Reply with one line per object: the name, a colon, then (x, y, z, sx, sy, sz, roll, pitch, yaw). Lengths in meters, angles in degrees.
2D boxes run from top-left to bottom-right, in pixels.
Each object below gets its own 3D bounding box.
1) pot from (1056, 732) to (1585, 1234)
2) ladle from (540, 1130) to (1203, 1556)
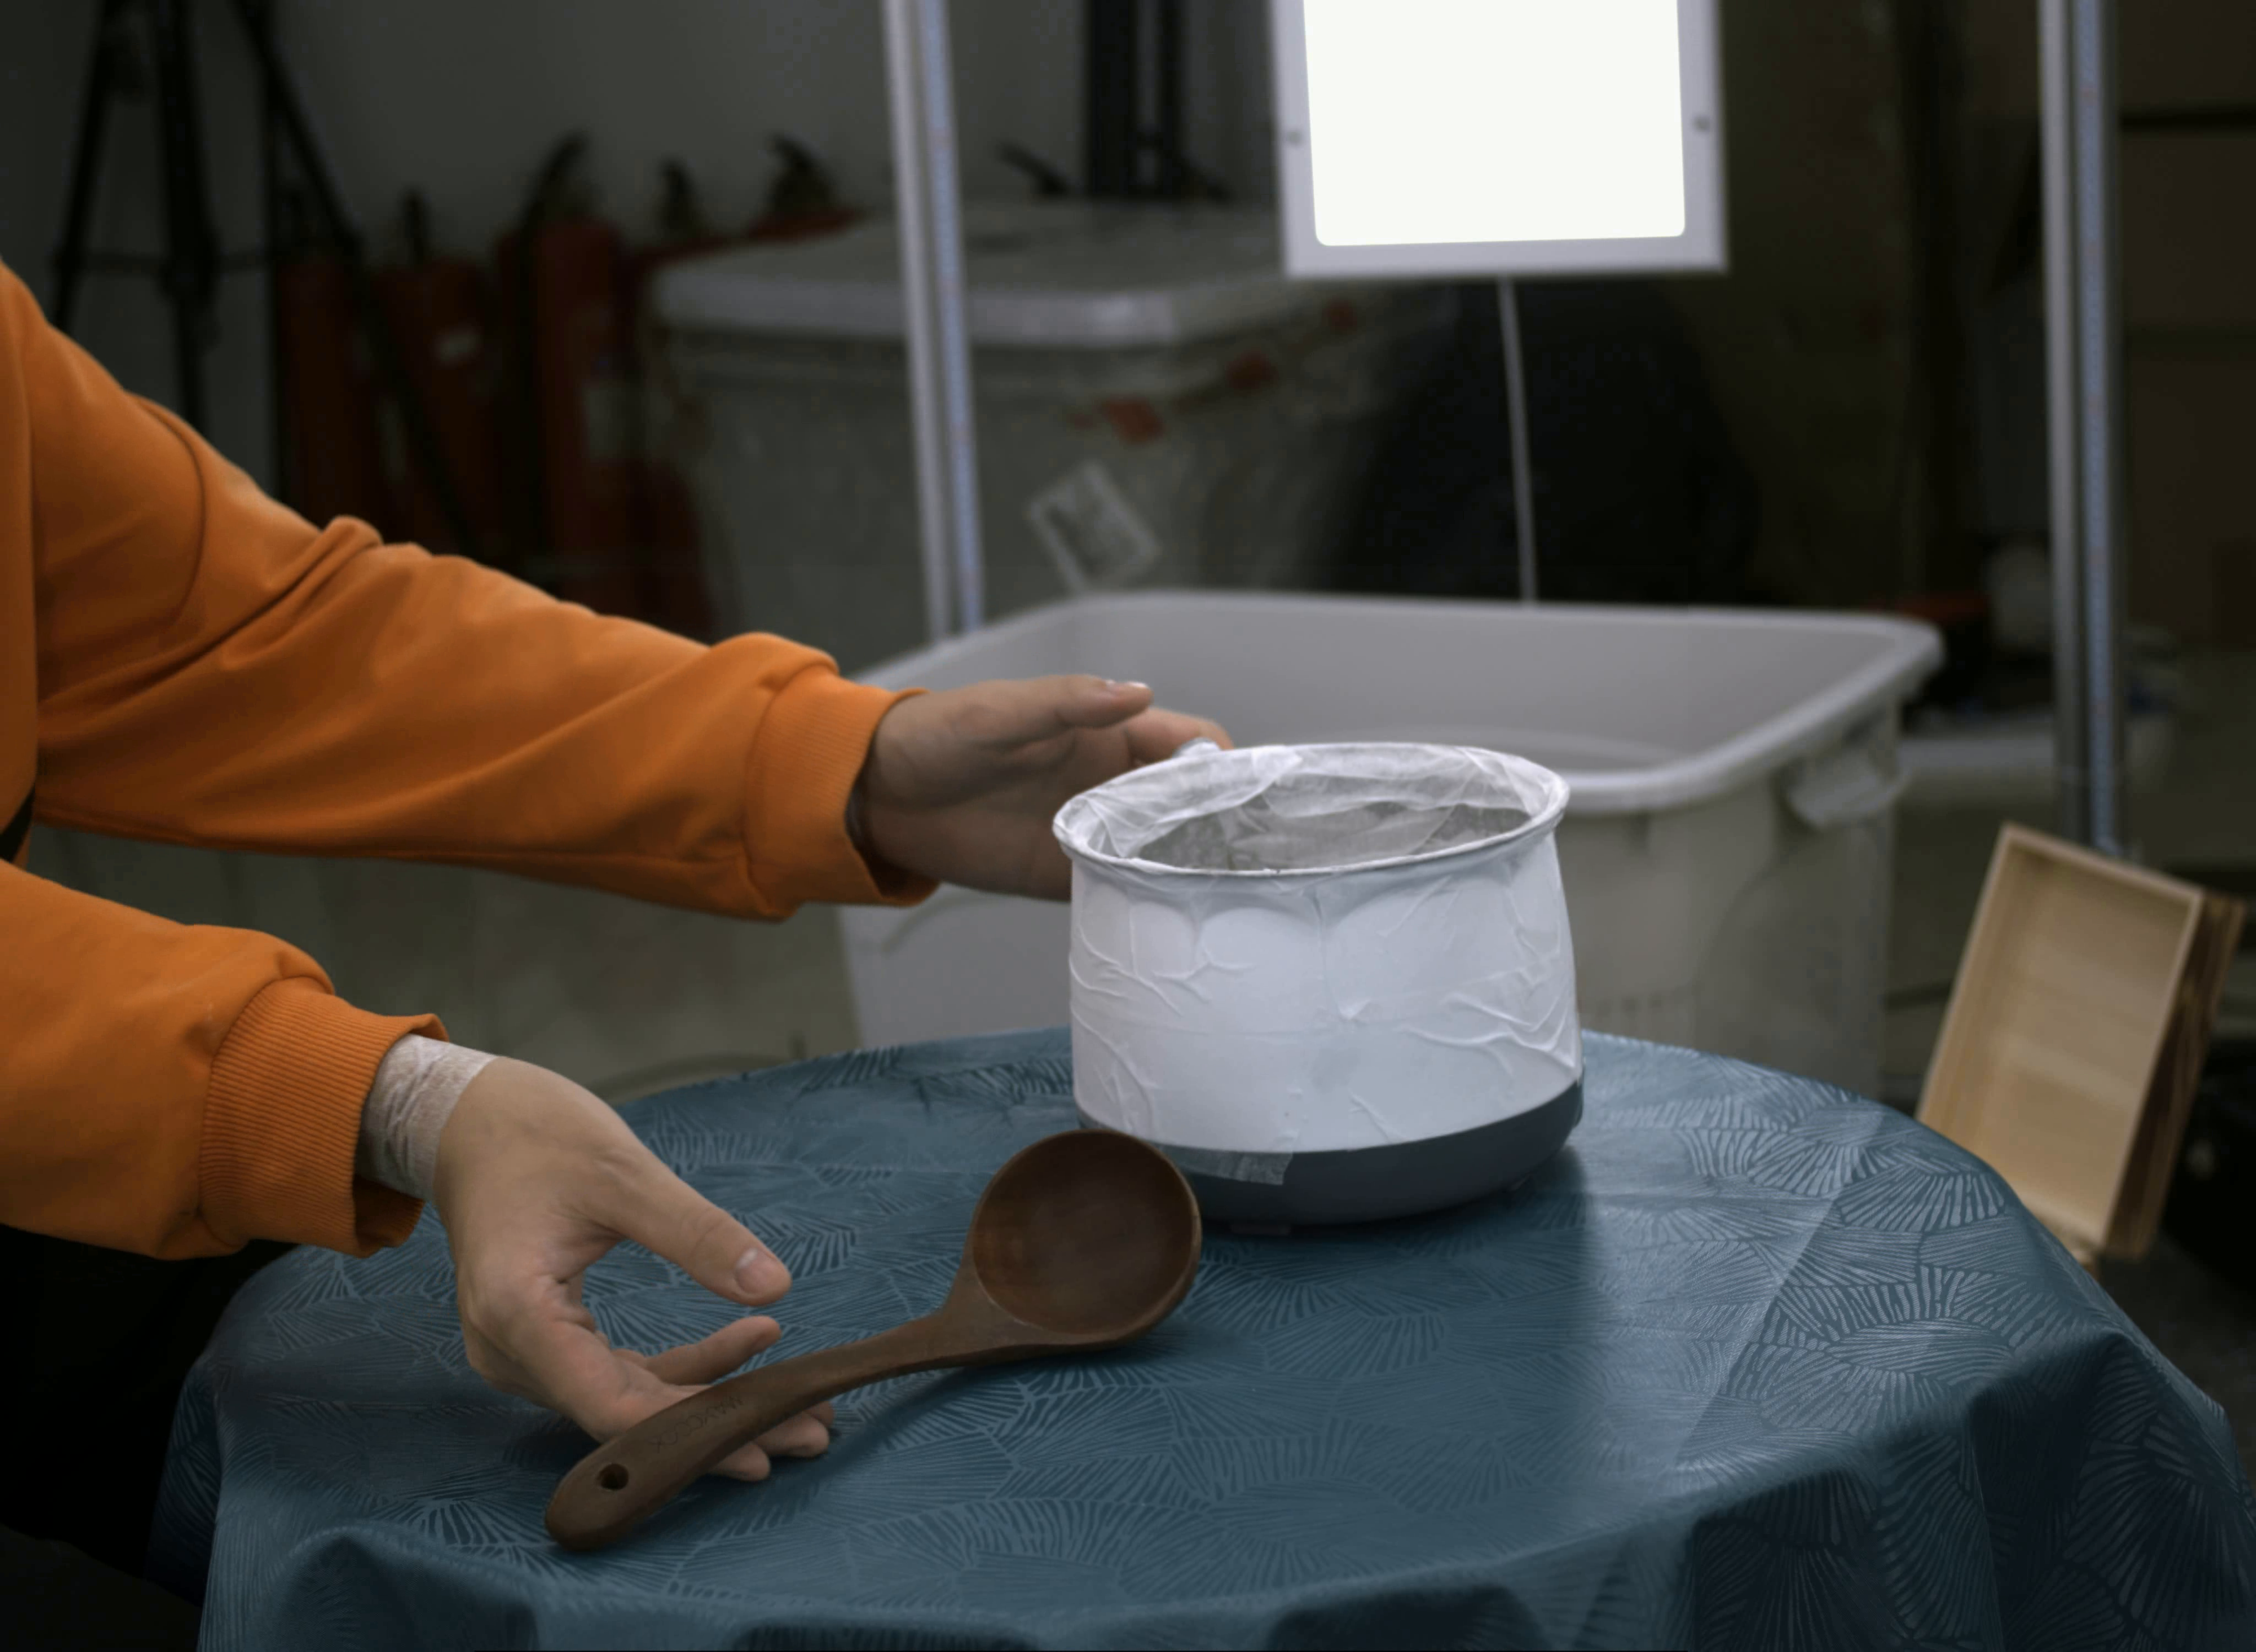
pot: (0.056, 0.047, 1.907, 0.175, 0.137, 0.237, -9, 15, -21)
ladle: (-0.076, 0.156, 1.681, 0.077, 0.066, 0.253, 36, 35, 30)
